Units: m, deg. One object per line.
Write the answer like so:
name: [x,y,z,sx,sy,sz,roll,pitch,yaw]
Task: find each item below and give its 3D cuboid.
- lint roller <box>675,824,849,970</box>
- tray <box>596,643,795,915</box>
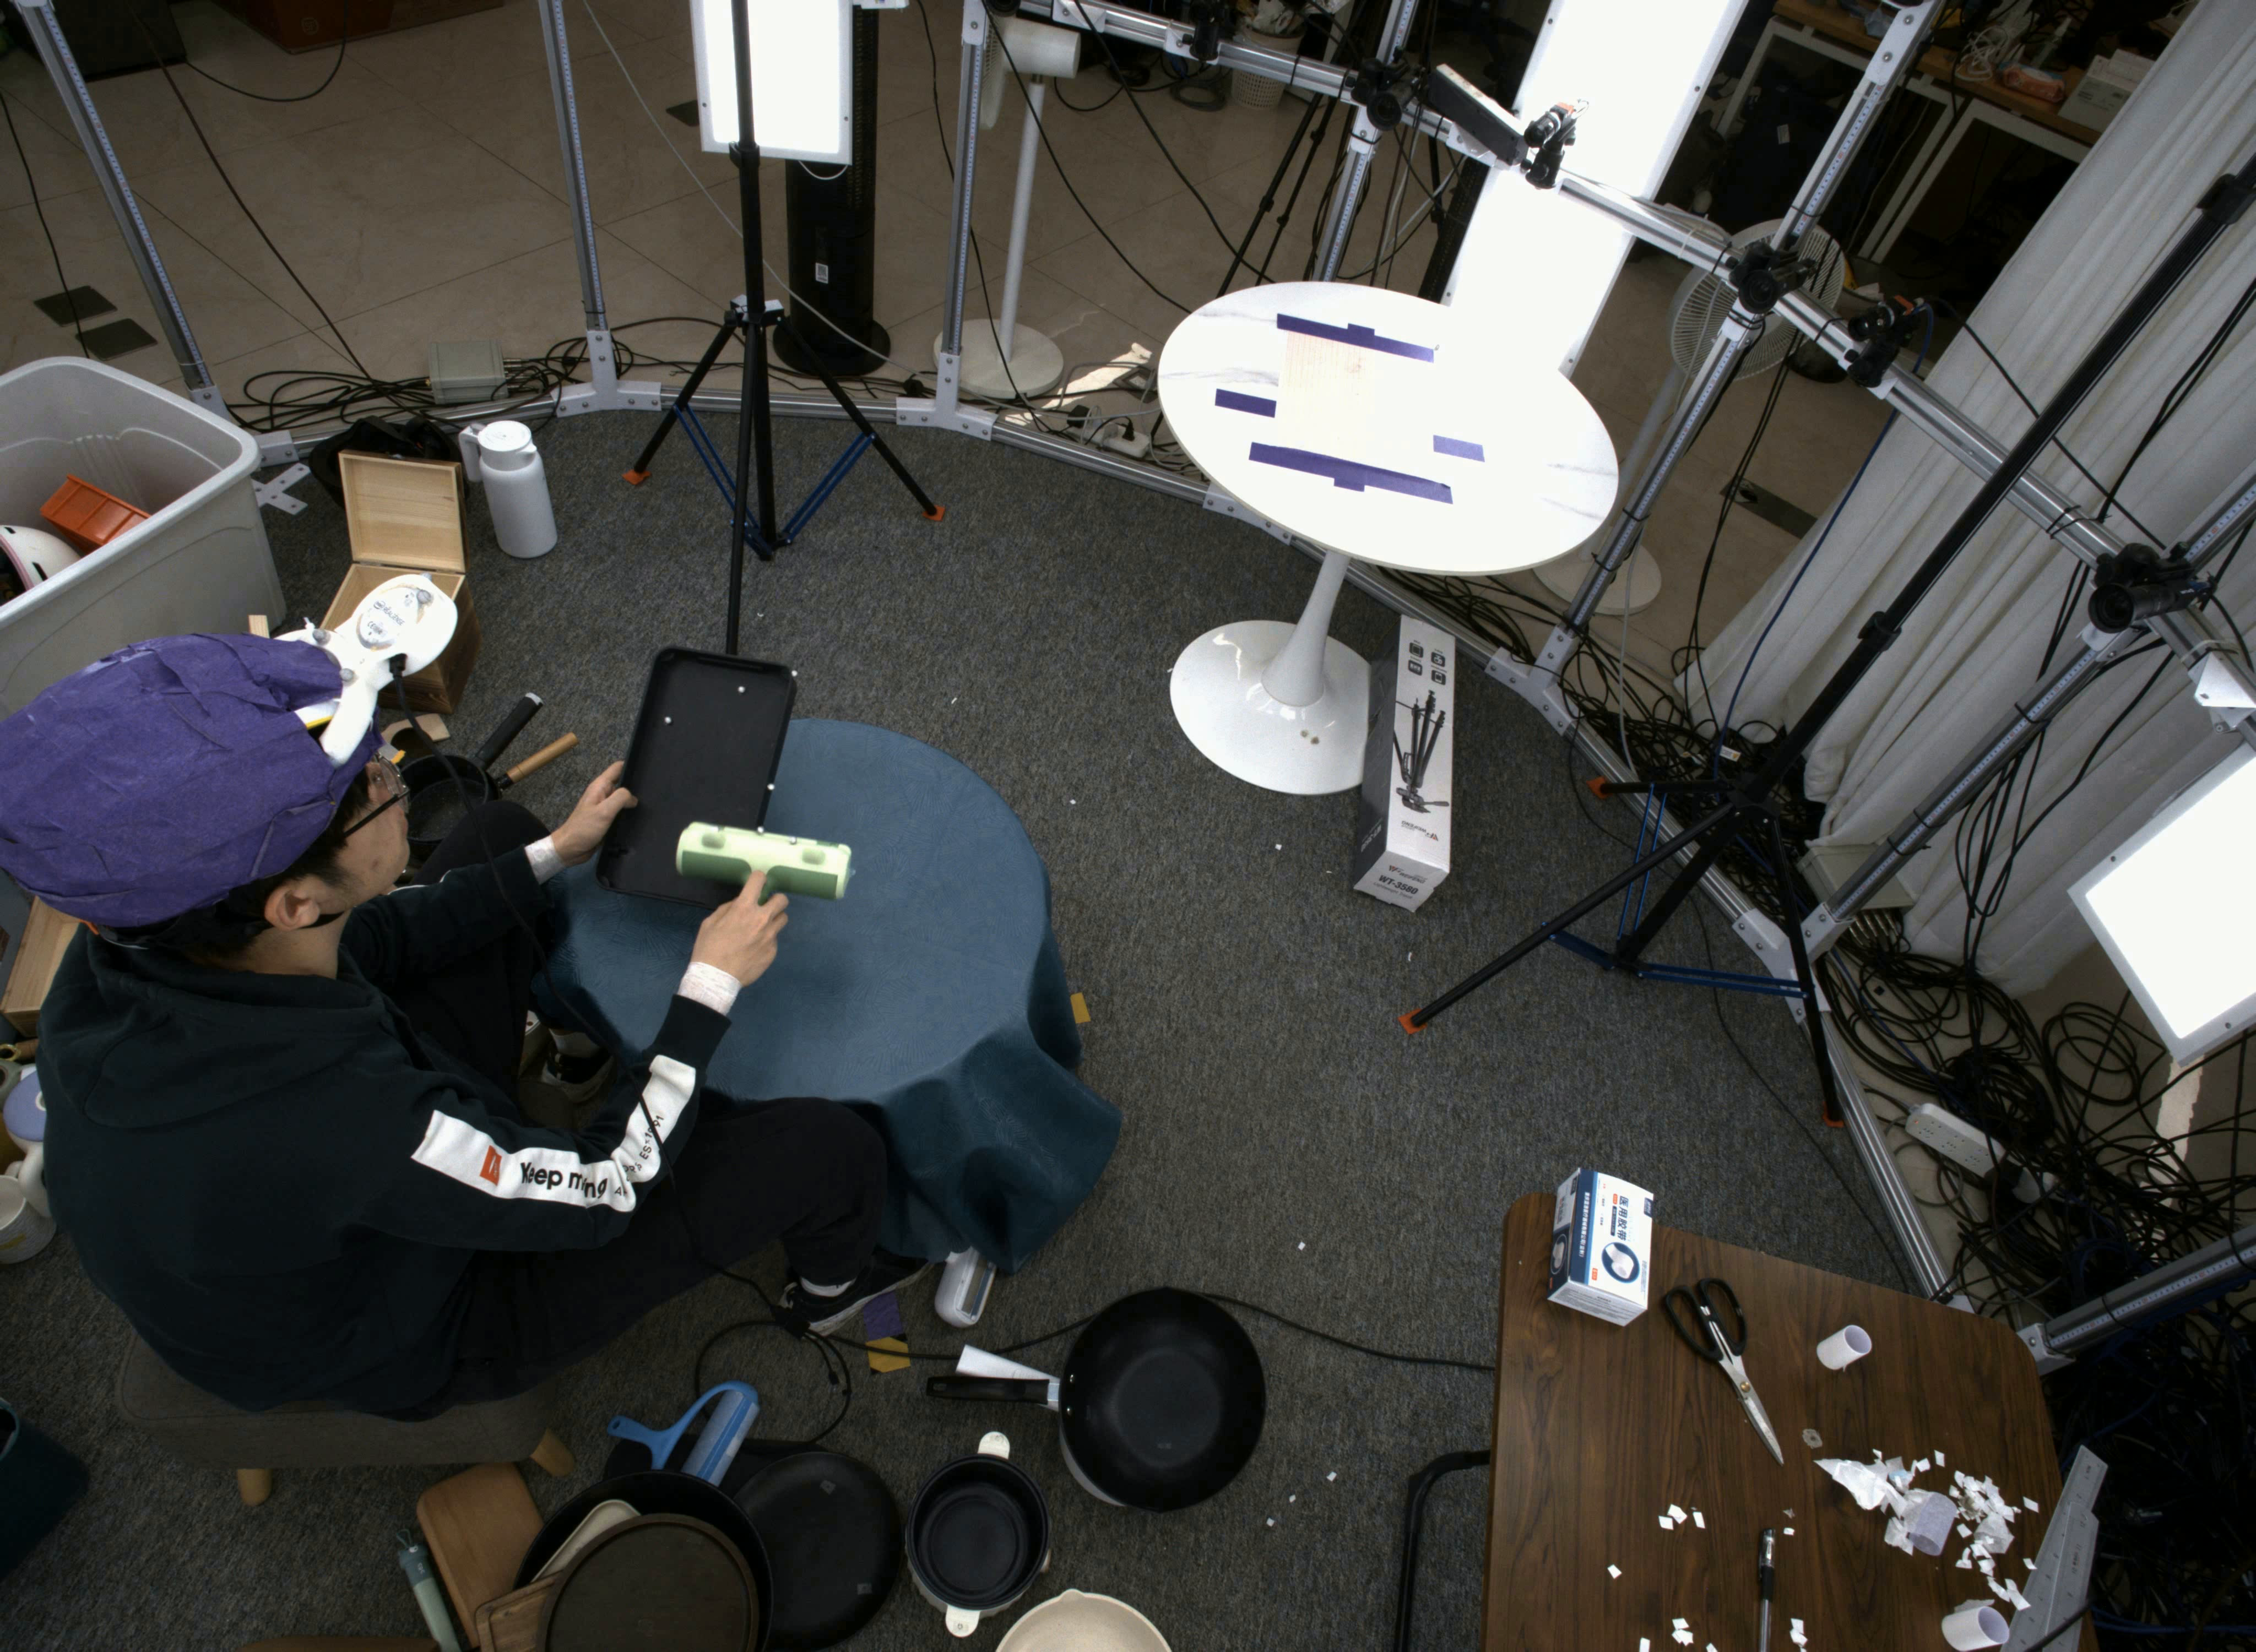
lint roller: [-0.429,0.072,1.475,0.198,0.084,0.179,10,40,-9]
tray: [-0.530,-0.060,1.582,0.182,0.037,0.318,10,77,1]
